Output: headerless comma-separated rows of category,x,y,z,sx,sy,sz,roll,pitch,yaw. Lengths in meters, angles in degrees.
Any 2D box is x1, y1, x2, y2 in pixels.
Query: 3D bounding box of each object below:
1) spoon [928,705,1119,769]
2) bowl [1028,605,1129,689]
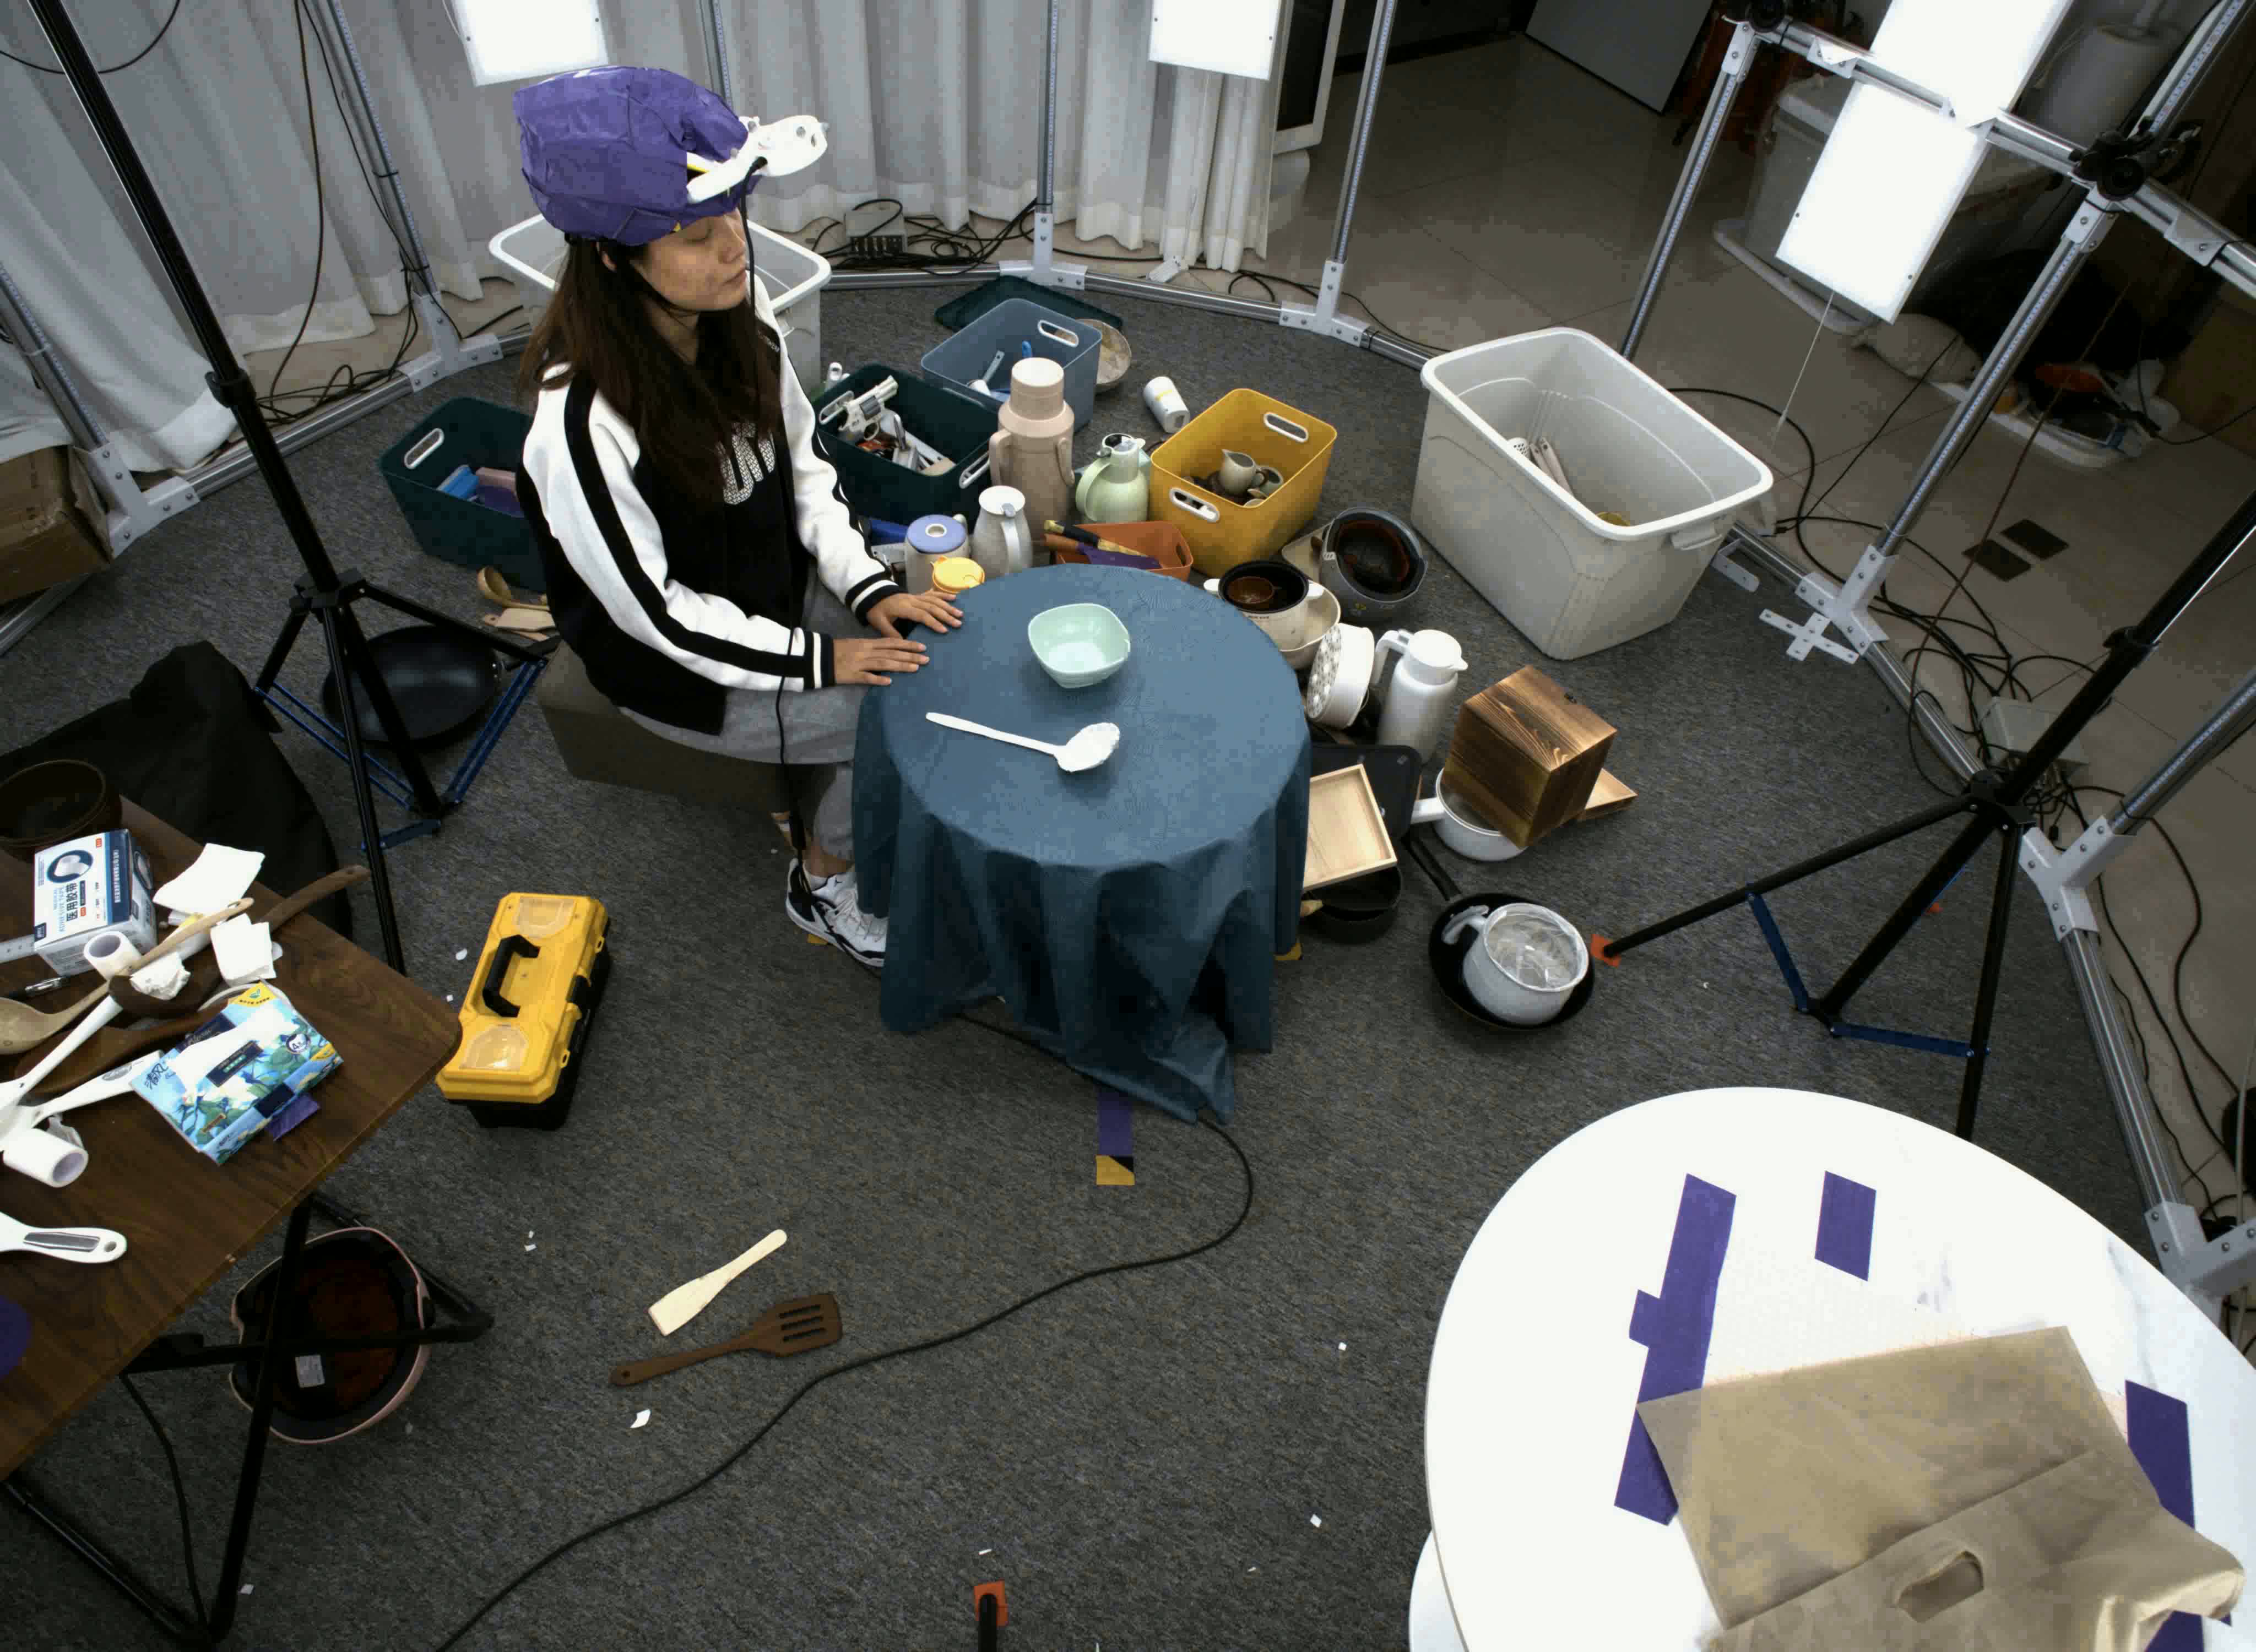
spoon,-0.145,-0.141,1.745,0.279,0.058,0.102,19,46,12
bowl,-0.072,-0.249,1.847,0.151,0.057,0.155,2,49,-3
